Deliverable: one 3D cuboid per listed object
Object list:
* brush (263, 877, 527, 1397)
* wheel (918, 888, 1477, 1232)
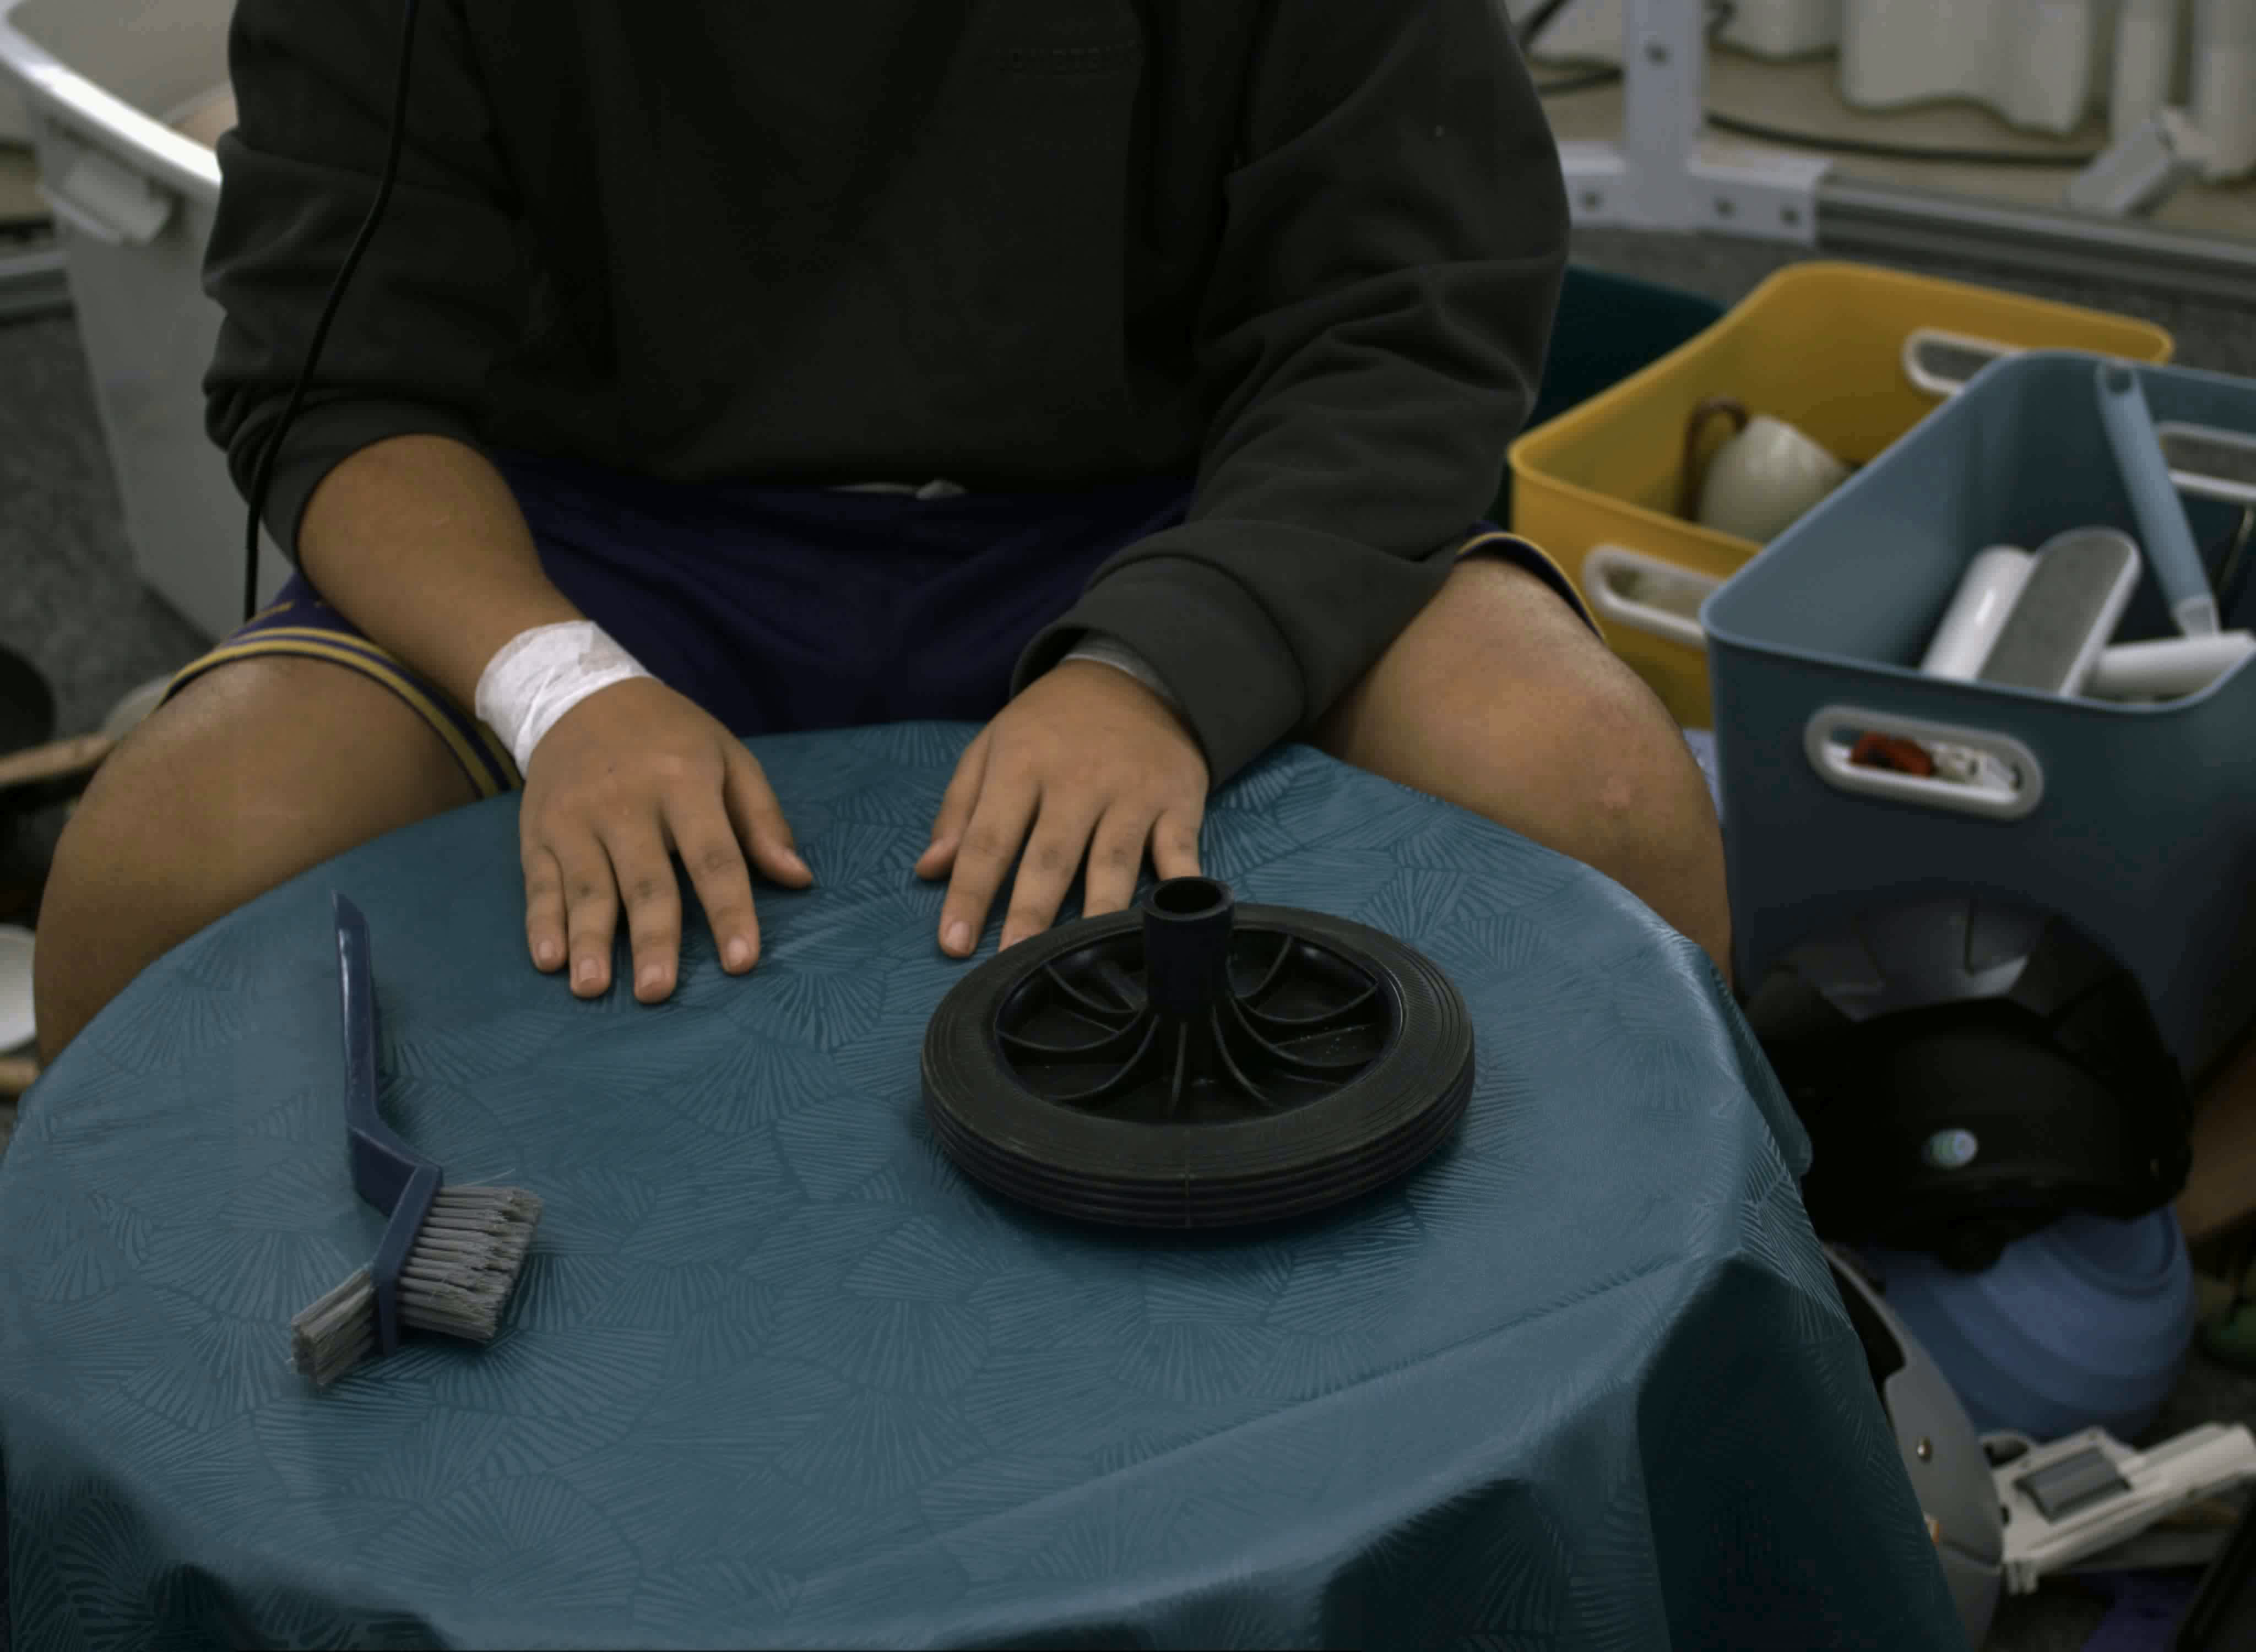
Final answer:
[{"bbox_3d":[-0.264,0.100,1.895,0.096,0.033,0.276,-11,30,-13],"label":"brush"},{"bbox_3d":[0.022,0.062,1.892,0.189,0.078,0.190,16,33,34],"label":"wheel"}]
